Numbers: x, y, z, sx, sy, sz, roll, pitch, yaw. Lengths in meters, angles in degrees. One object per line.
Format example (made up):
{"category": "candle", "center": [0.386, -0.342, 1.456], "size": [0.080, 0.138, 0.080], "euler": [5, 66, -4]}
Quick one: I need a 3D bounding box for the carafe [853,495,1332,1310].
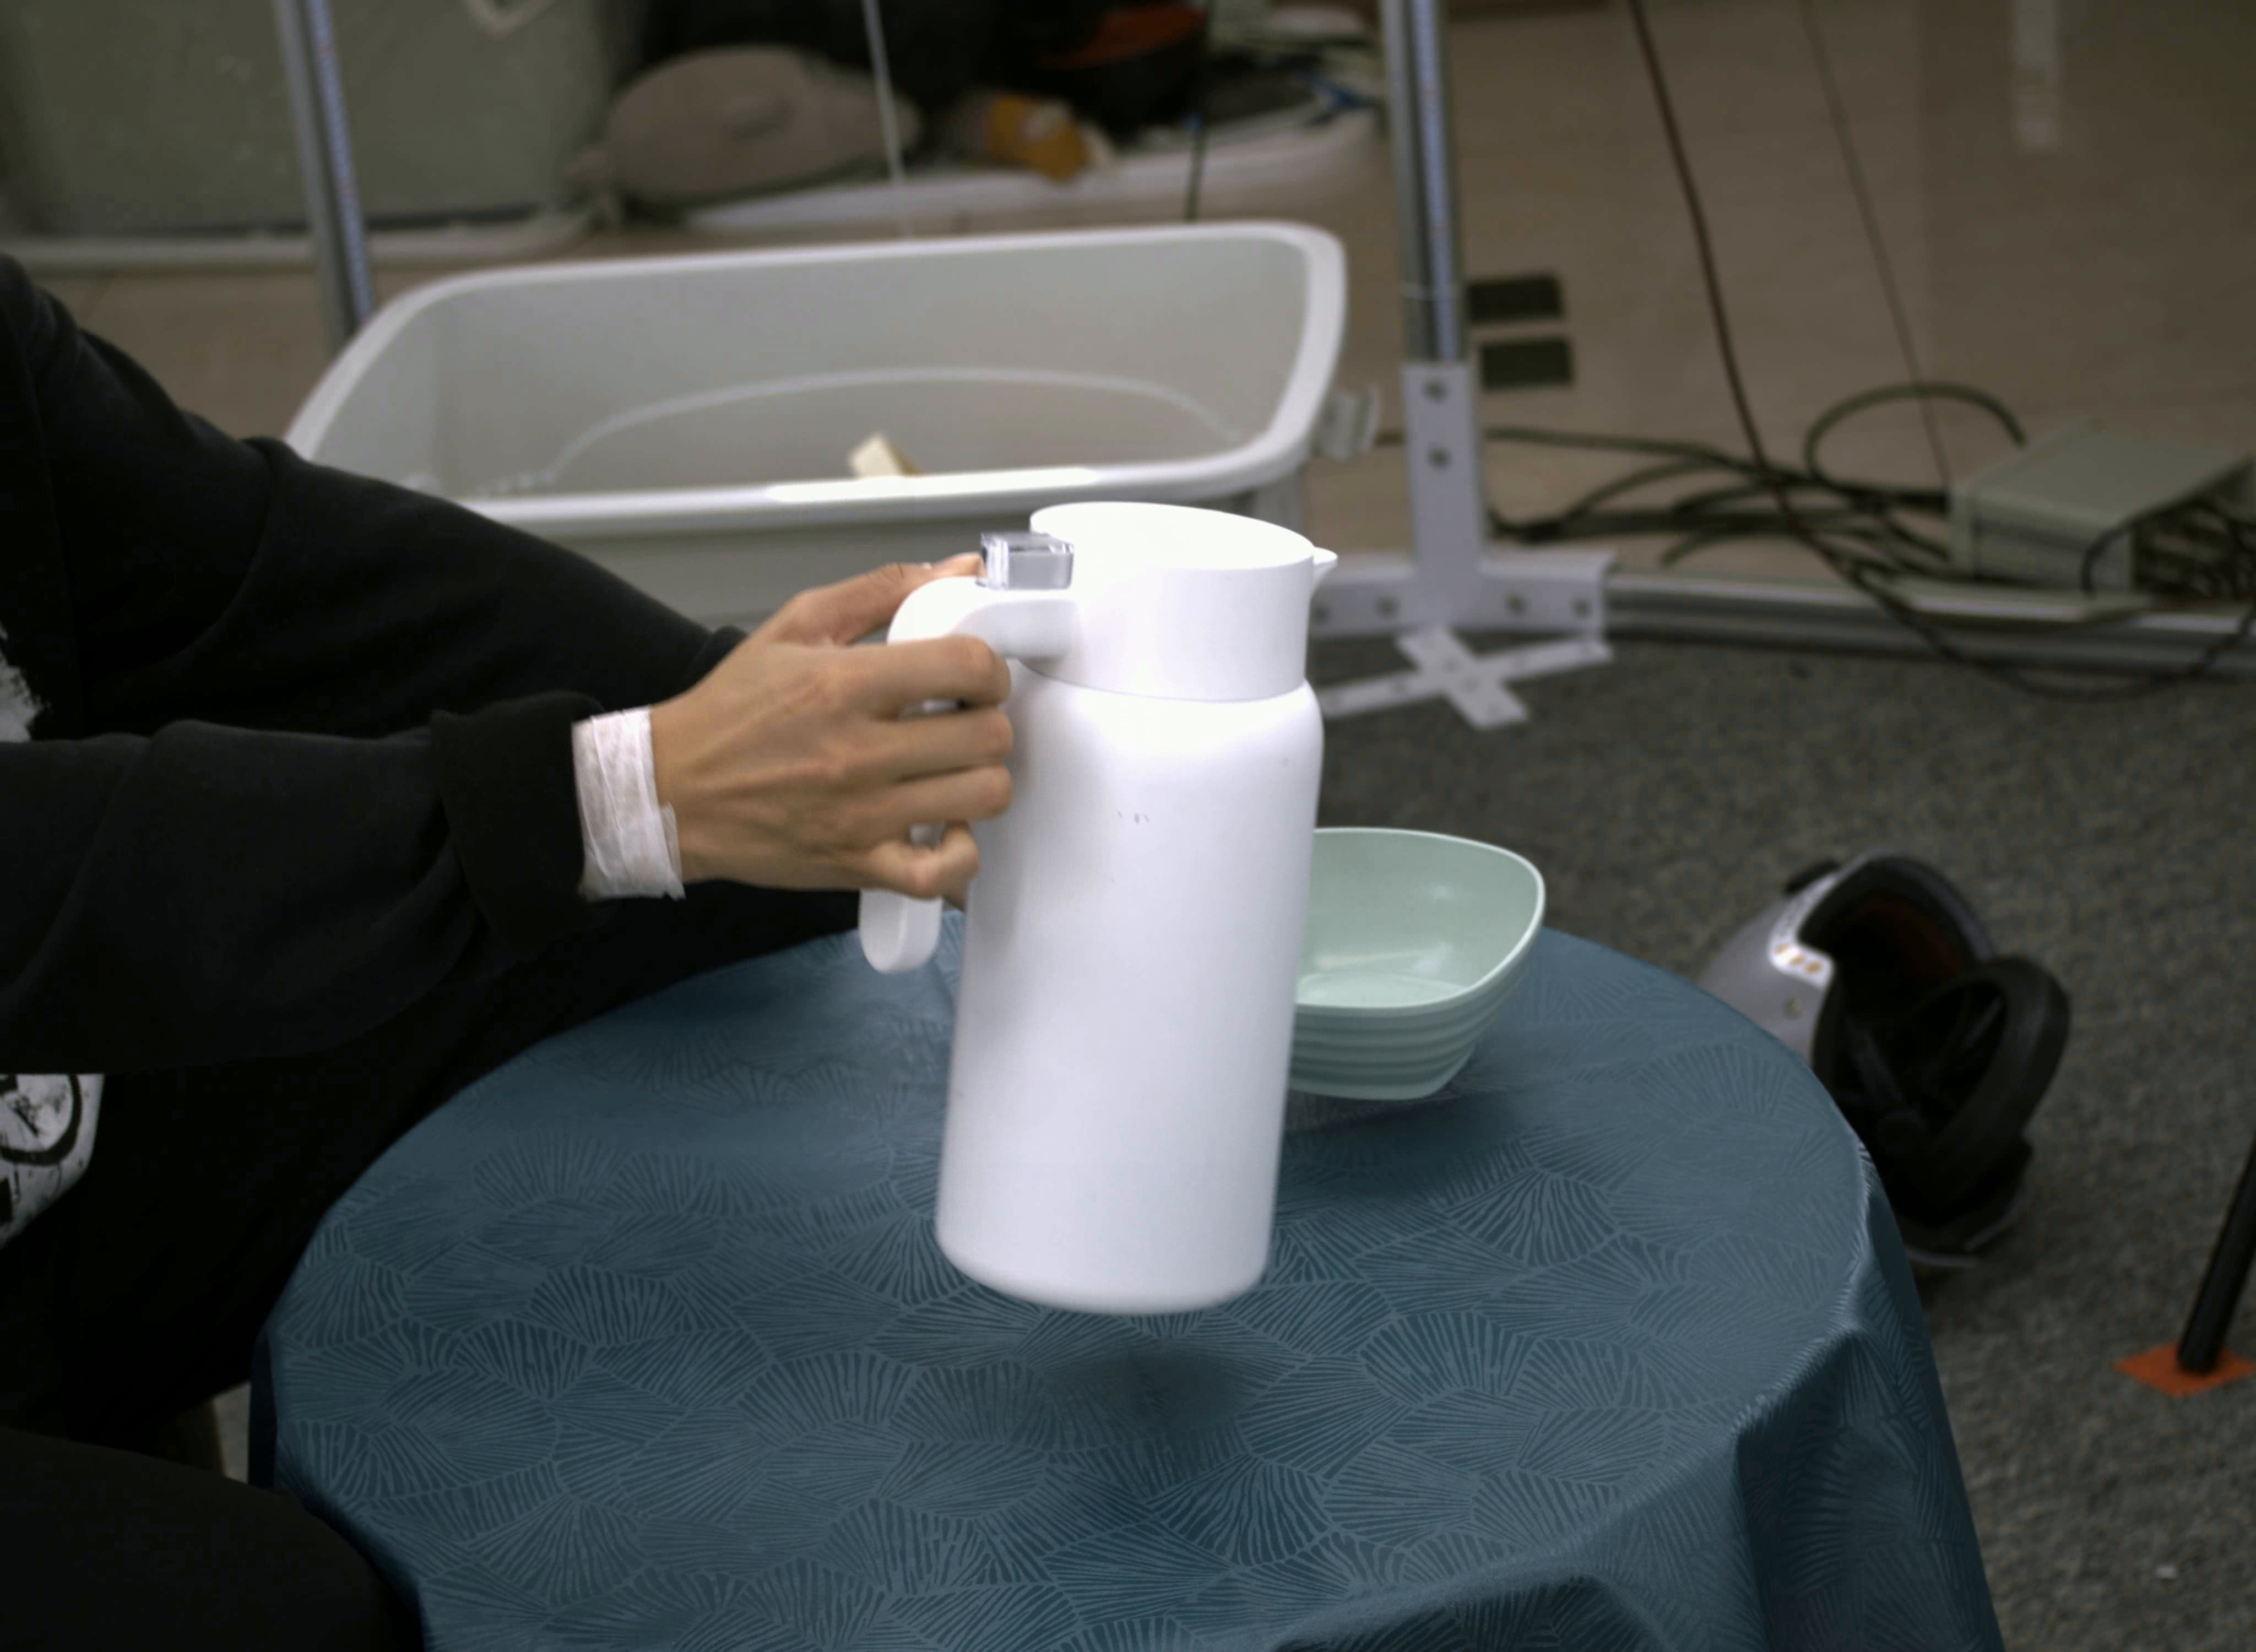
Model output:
{"category": "carafe", "center": [-0.014, 0.027, 1.943], "size": [0.172, 0.272, 0.122], "euler": [-4, 21, -35]}

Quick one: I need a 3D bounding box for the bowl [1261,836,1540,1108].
{"category": "bowl", "center": [0.088, 0.062, 2.181], "size": [0.151, 0.059, 0.149], "euler": [-4, 29, 2]}
